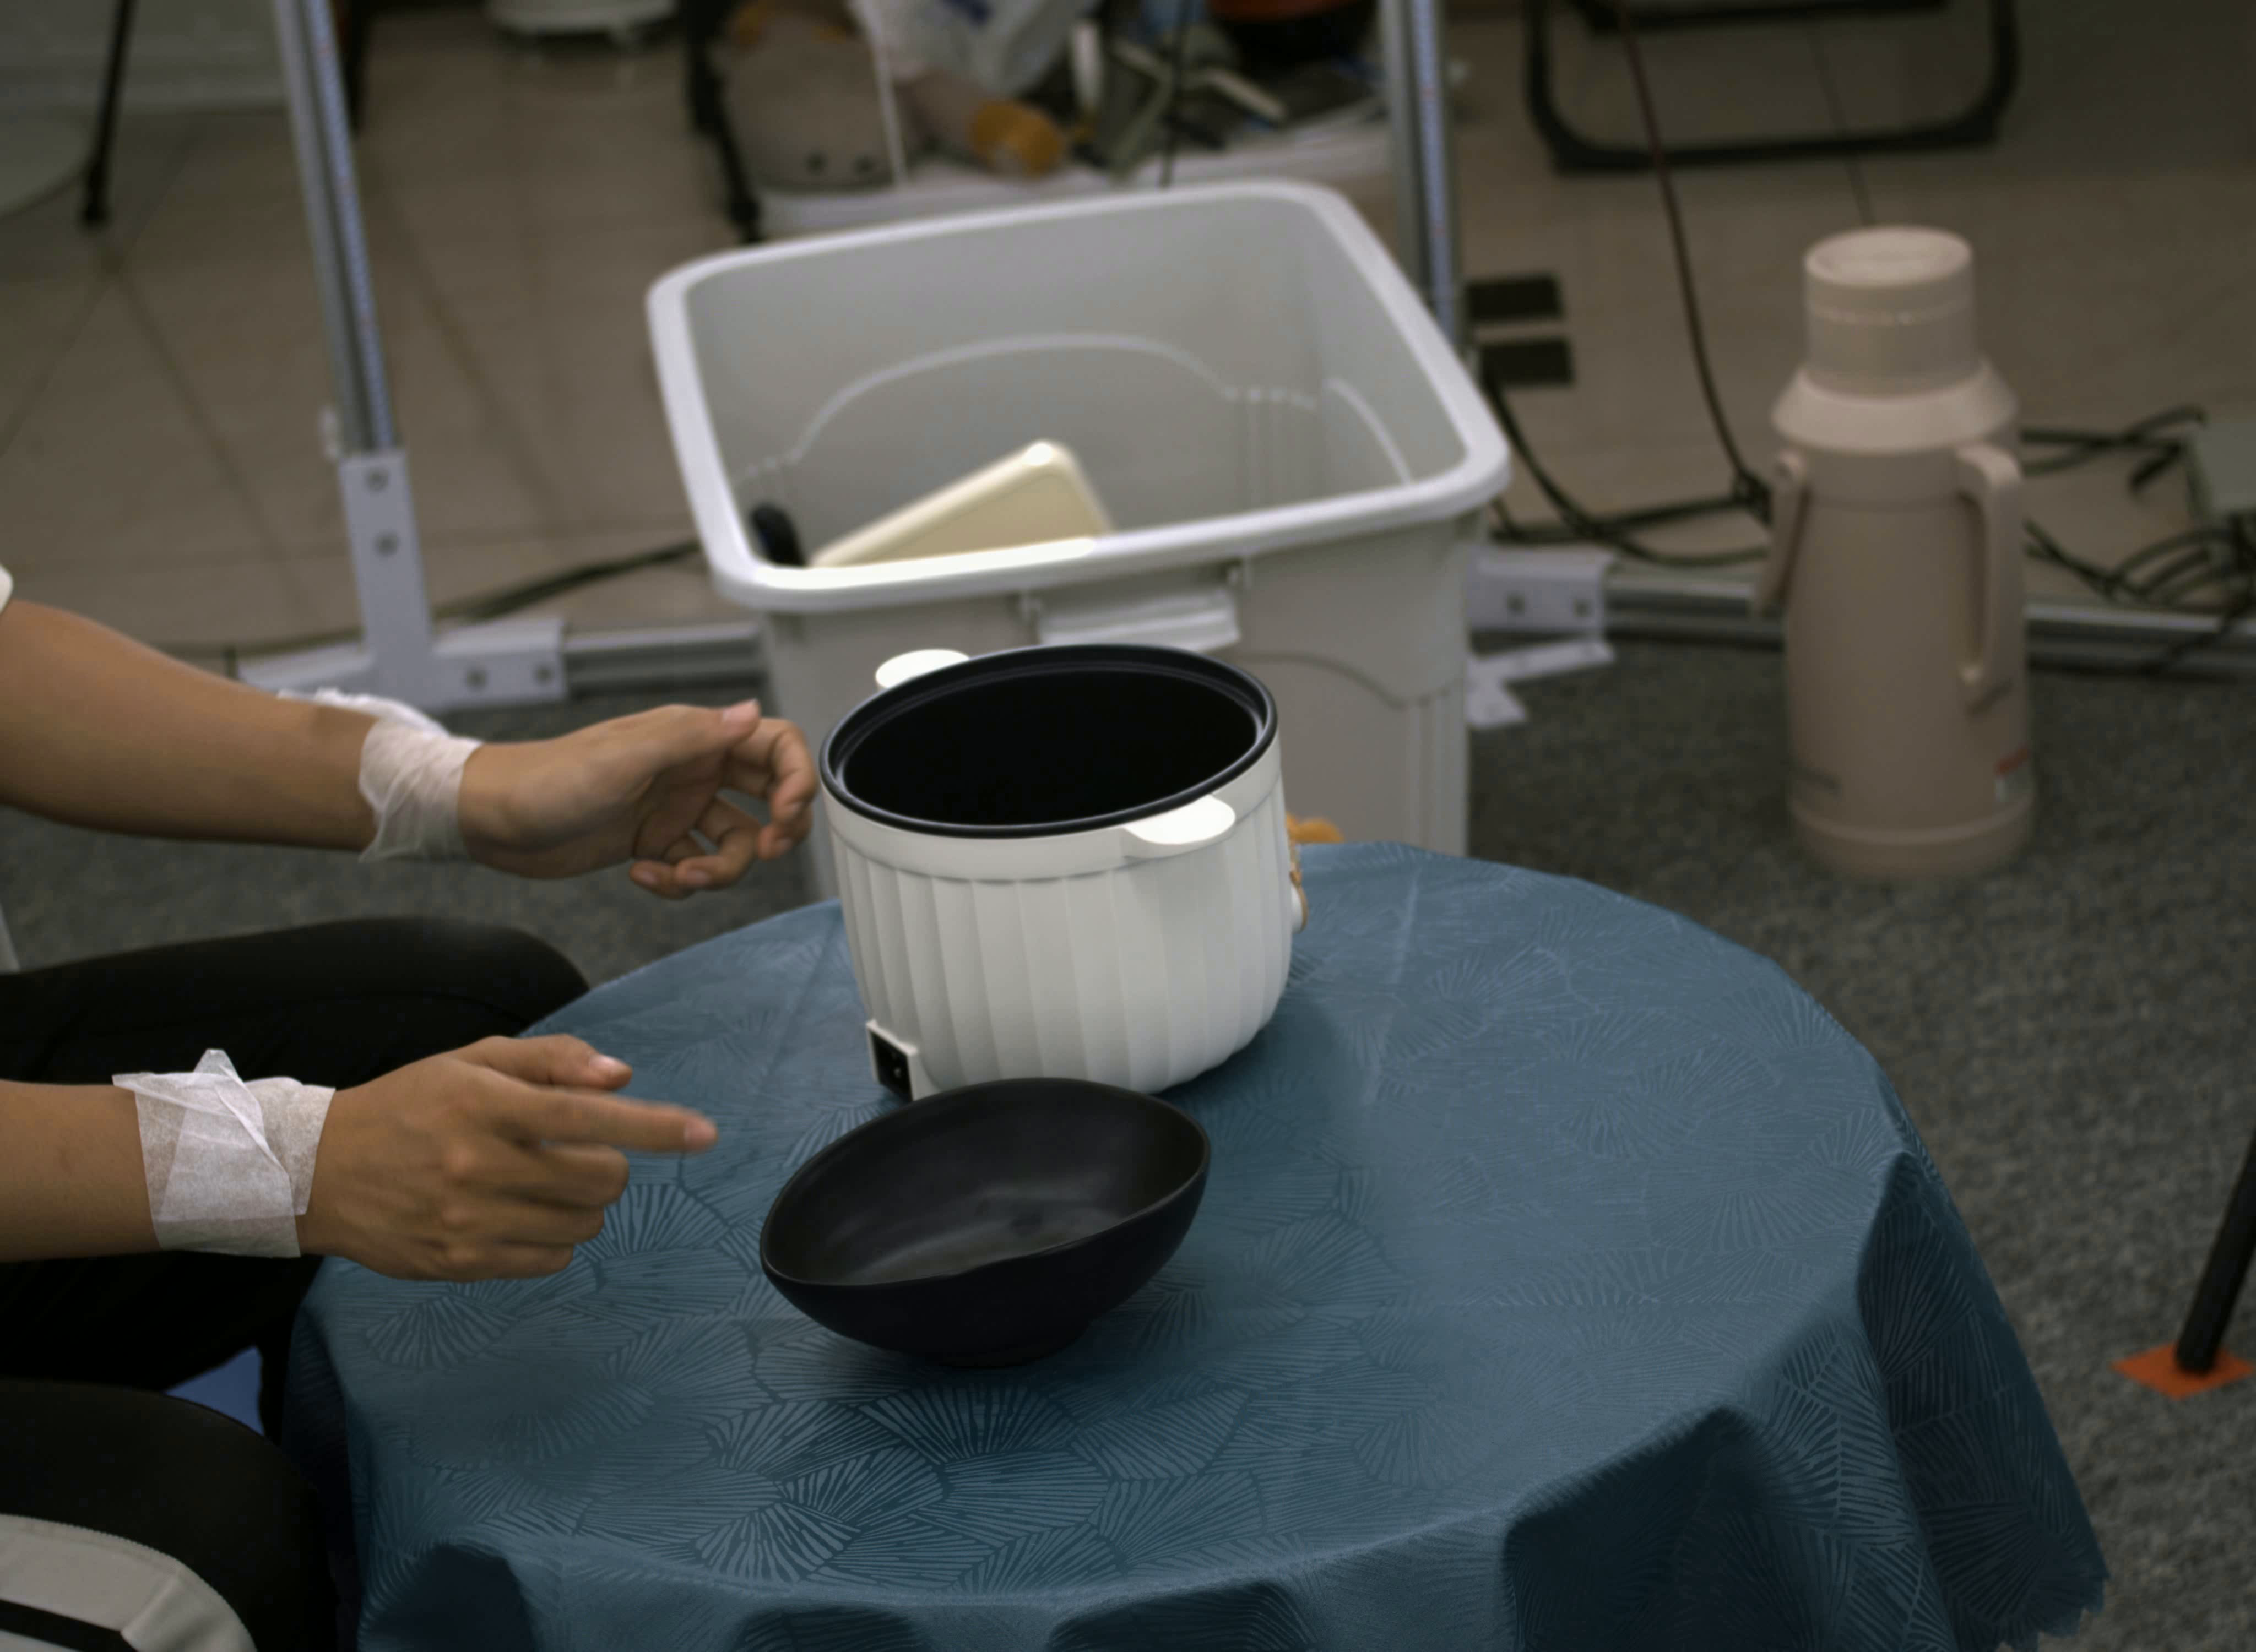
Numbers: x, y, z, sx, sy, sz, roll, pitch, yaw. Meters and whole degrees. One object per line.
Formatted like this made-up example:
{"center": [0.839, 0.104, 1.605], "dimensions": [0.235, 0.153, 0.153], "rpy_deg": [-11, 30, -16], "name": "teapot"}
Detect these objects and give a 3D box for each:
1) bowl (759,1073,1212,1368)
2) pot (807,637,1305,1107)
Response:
{"center": [-0.048, 0.153, 2.057], "dimensions": [0.169, 0.068, 0.136], "rpy_deg": [-17, 26, -18], "name": "bowl"}
{"center": [-0.021, 0.021, 2.243], "dimensions": [0.189, 0.145, 0.238], "rpy_deg": [-23, 31, -25], "name": "pot"}
